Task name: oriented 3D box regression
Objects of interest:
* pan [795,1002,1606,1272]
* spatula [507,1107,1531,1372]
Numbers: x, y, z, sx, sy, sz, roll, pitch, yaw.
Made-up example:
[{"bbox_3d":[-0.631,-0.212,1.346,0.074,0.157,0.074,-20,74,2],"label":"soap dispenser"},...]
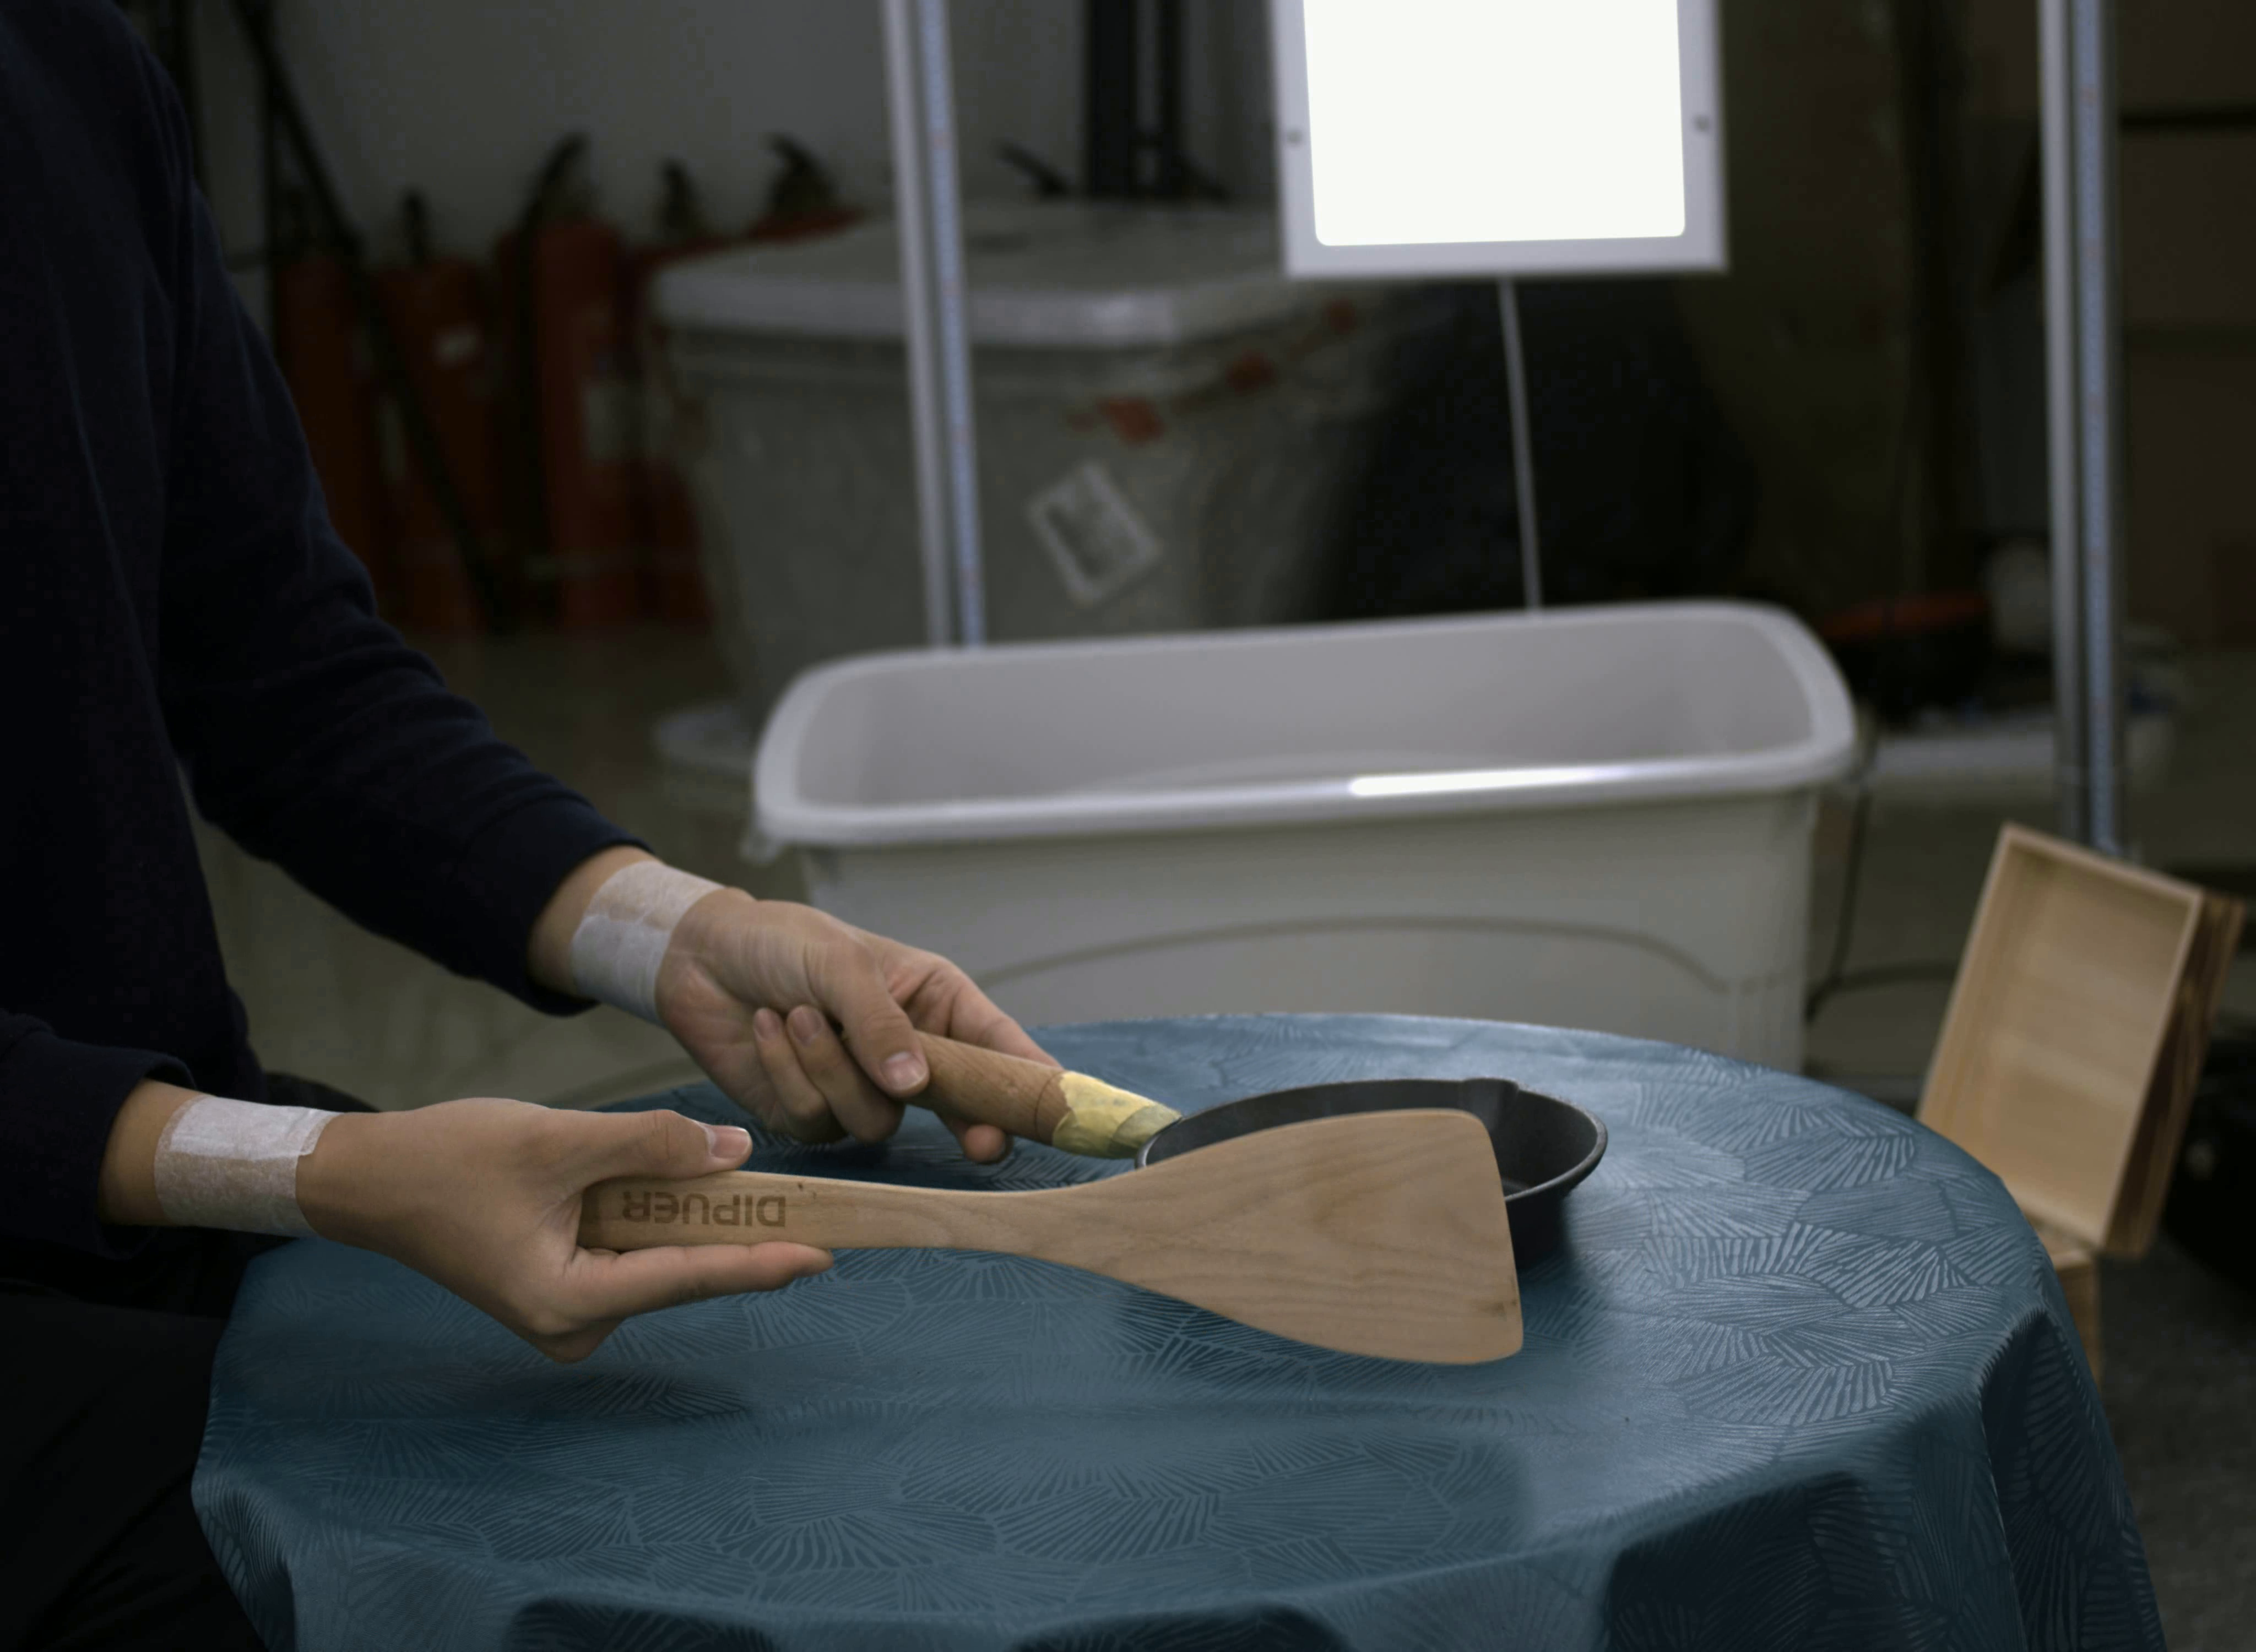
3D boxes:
[{"bbox_3d":[0.014,0.105,1.875,0.331,0.050,0.164,8,19,39],"label":"pan"},{"bbox_3d":[-0.036,0.122,1.697,0.330,0.080,0.016,1,2,14],"label":"spatula"}]
